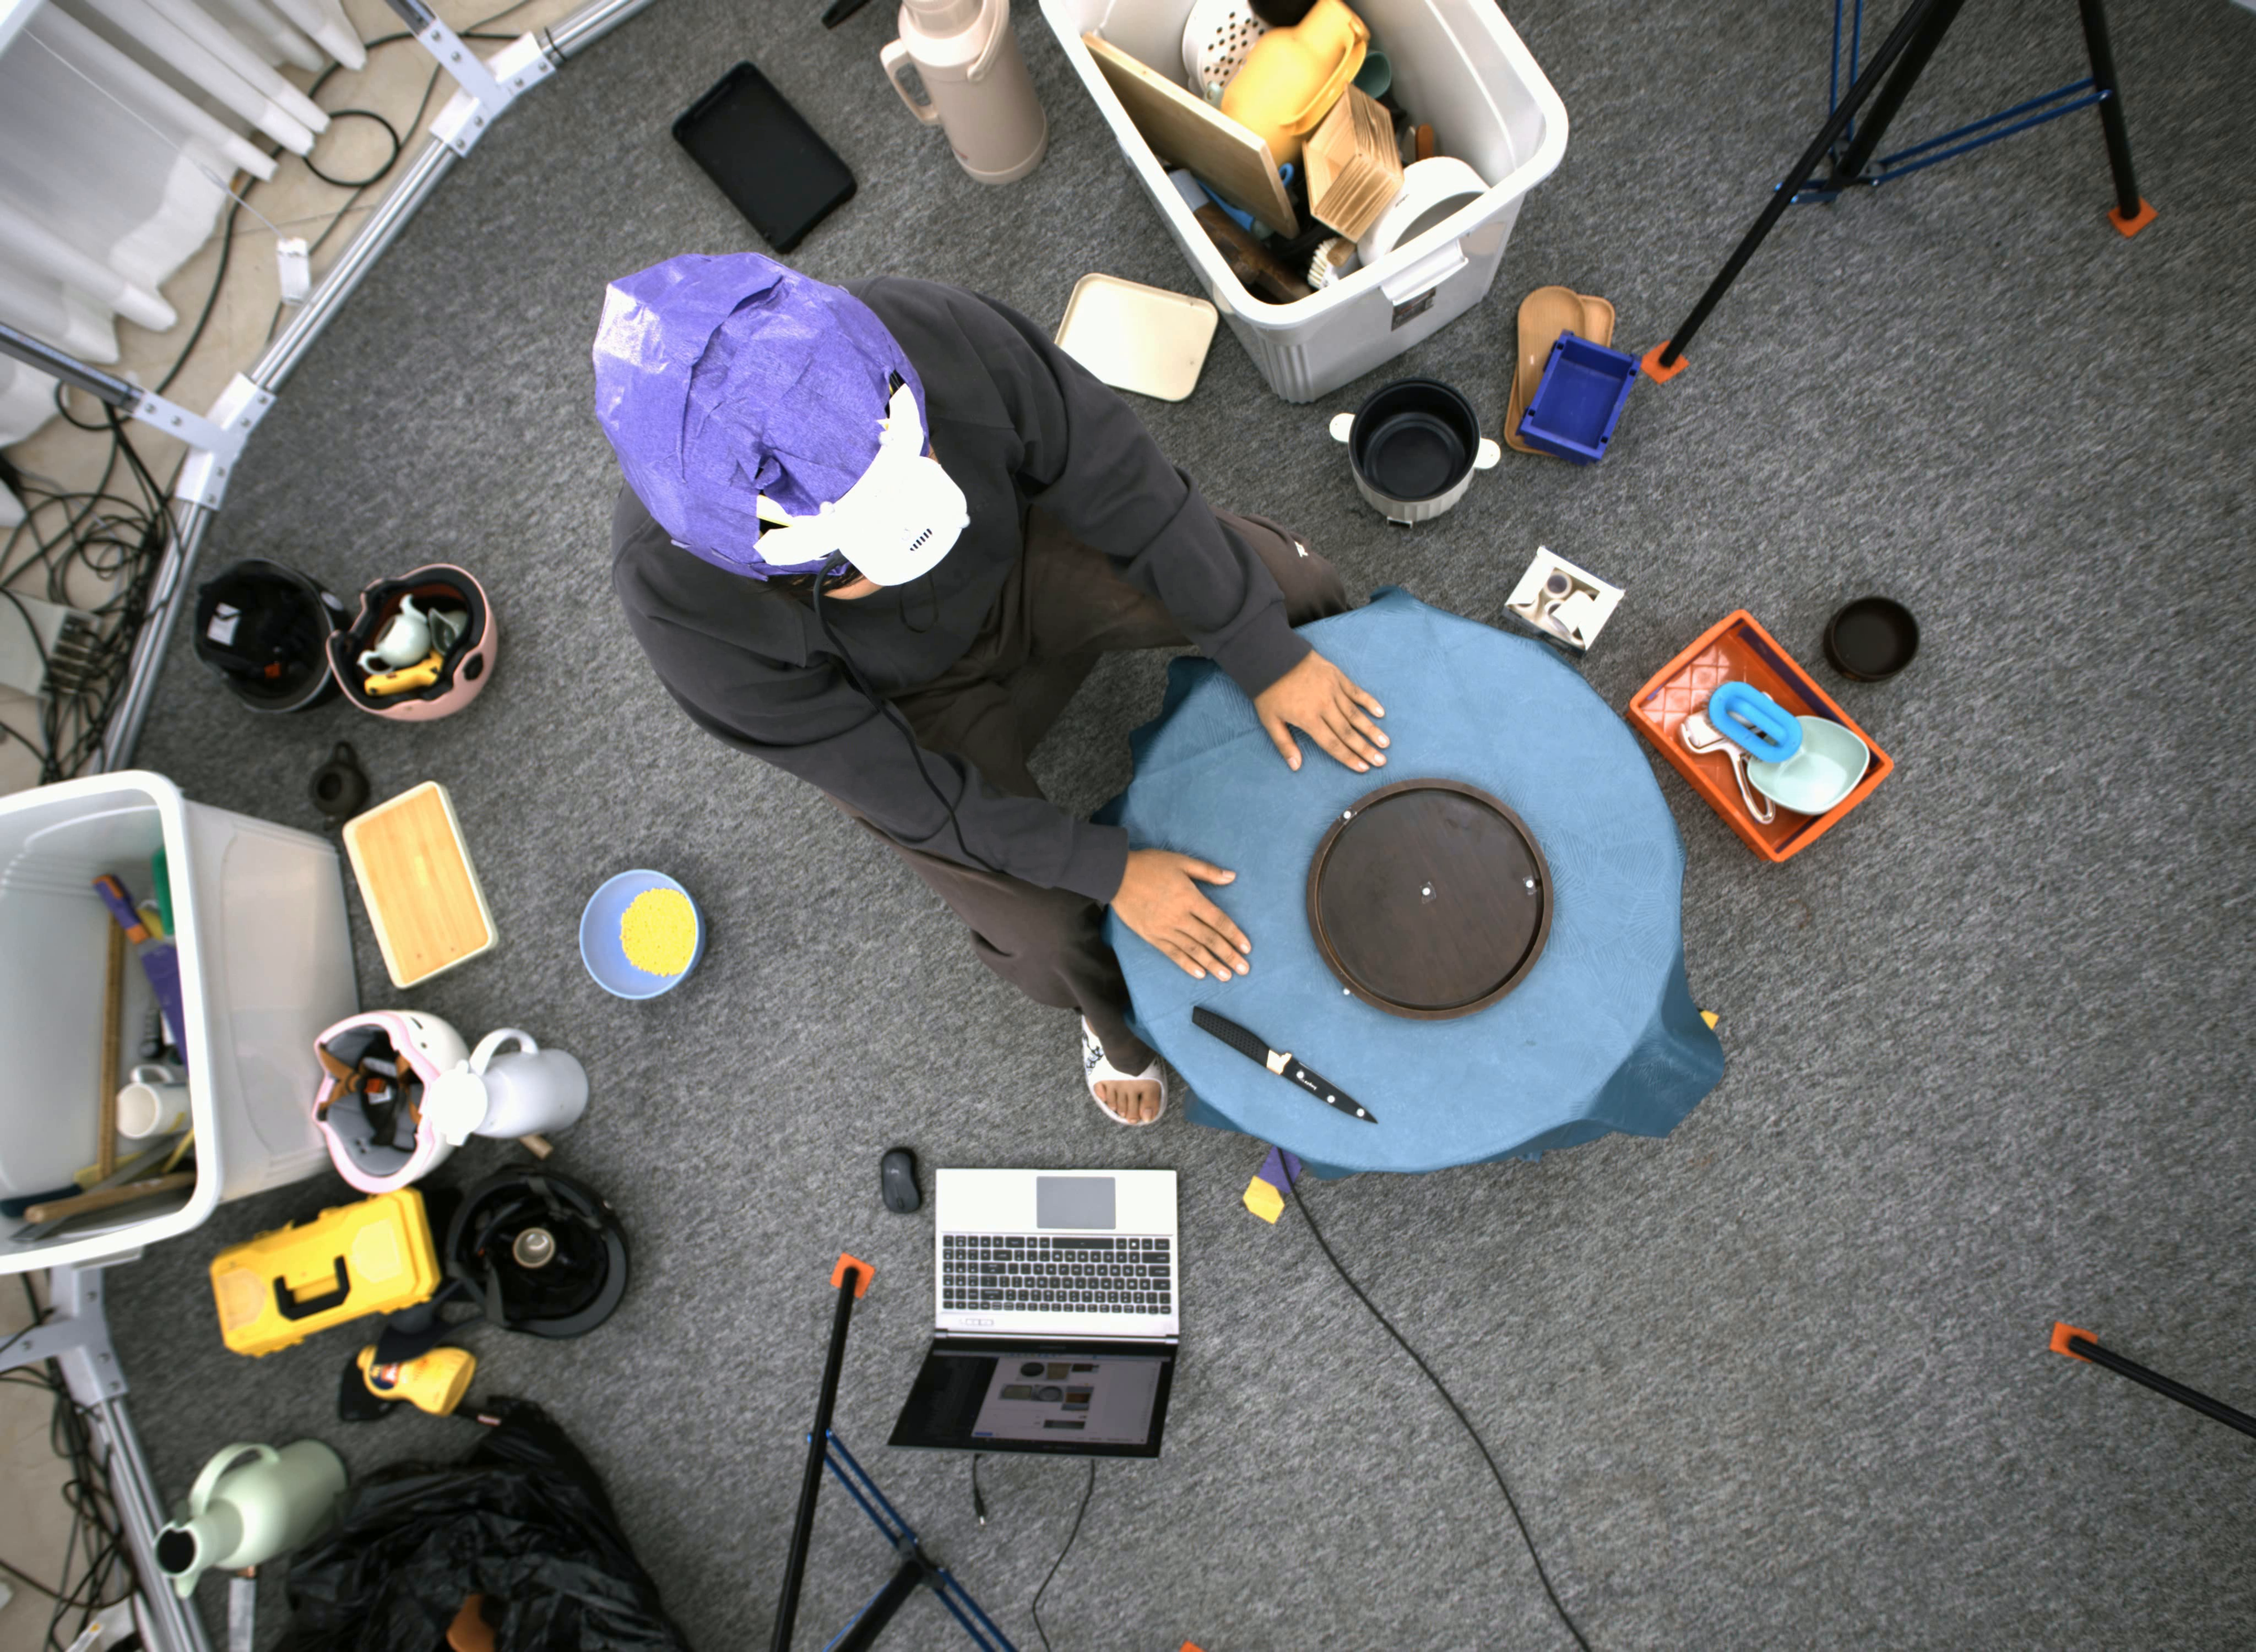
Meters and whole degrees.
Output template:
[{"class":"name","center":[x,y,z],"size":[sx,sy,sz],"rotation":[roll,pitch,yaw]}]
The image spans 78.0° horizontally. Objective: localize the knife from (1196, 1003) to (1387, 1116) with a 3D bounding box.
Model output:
[{"class":"knife","center":[0.172,0.249,1.464],"size":[0.225,0.017,0.026],"rotation":[30,86,10]}]

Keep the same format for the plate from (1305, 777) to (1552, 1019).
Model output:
[{"class":"plate","center":[0.313,0.073,1.441],"size":[0.256,0.029,0.253],"rotation":[-1,86,12]}]
